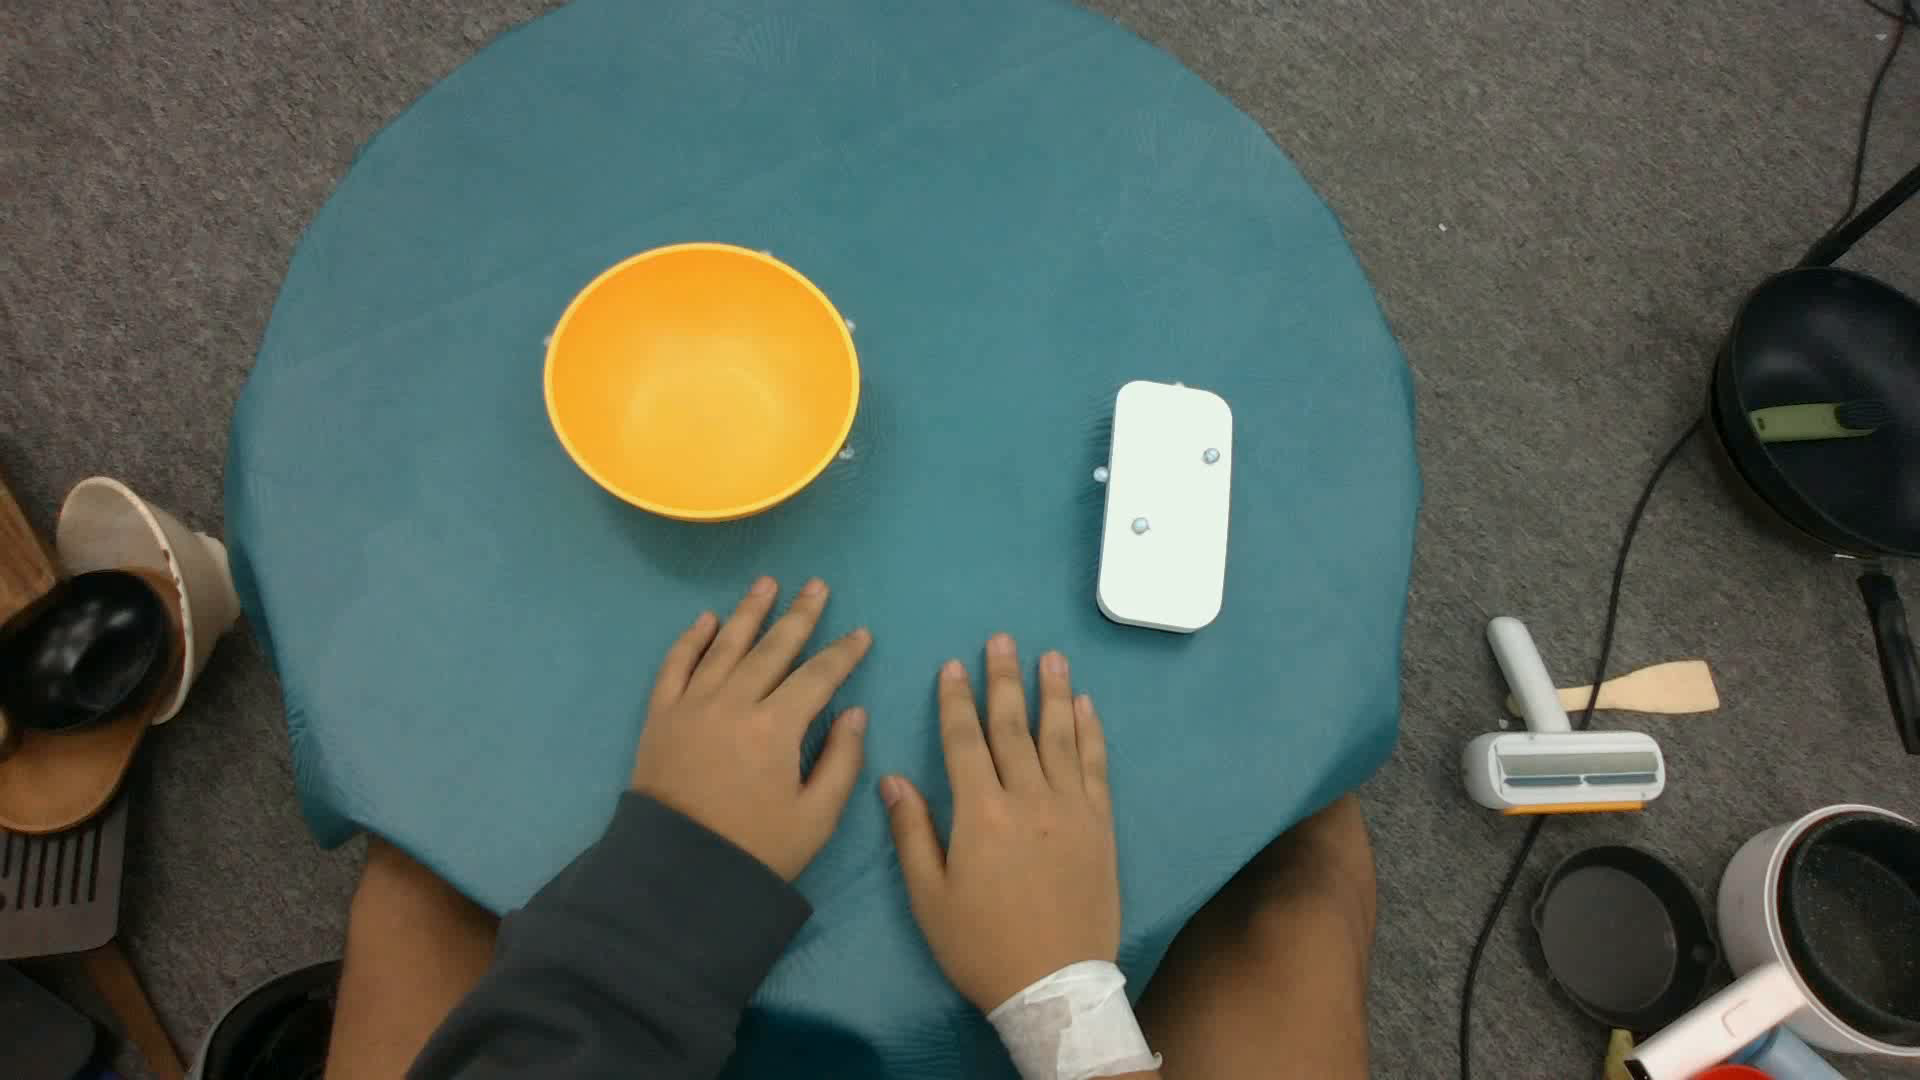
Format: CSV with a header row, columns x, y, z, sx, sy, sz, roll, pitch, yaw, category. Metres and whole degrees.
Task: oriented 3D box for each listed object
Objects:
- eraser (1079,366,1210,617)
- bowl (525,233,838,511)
x,y,z,sx,sy,sz,roll,pitch,yaw,category
0.092,-0.026,0.697,0.063,0.034,0.132,9,67,-3,eraser
-0.133,-0.073,0.672,0.145,0.060,0.146,2,71,-6,bowl
